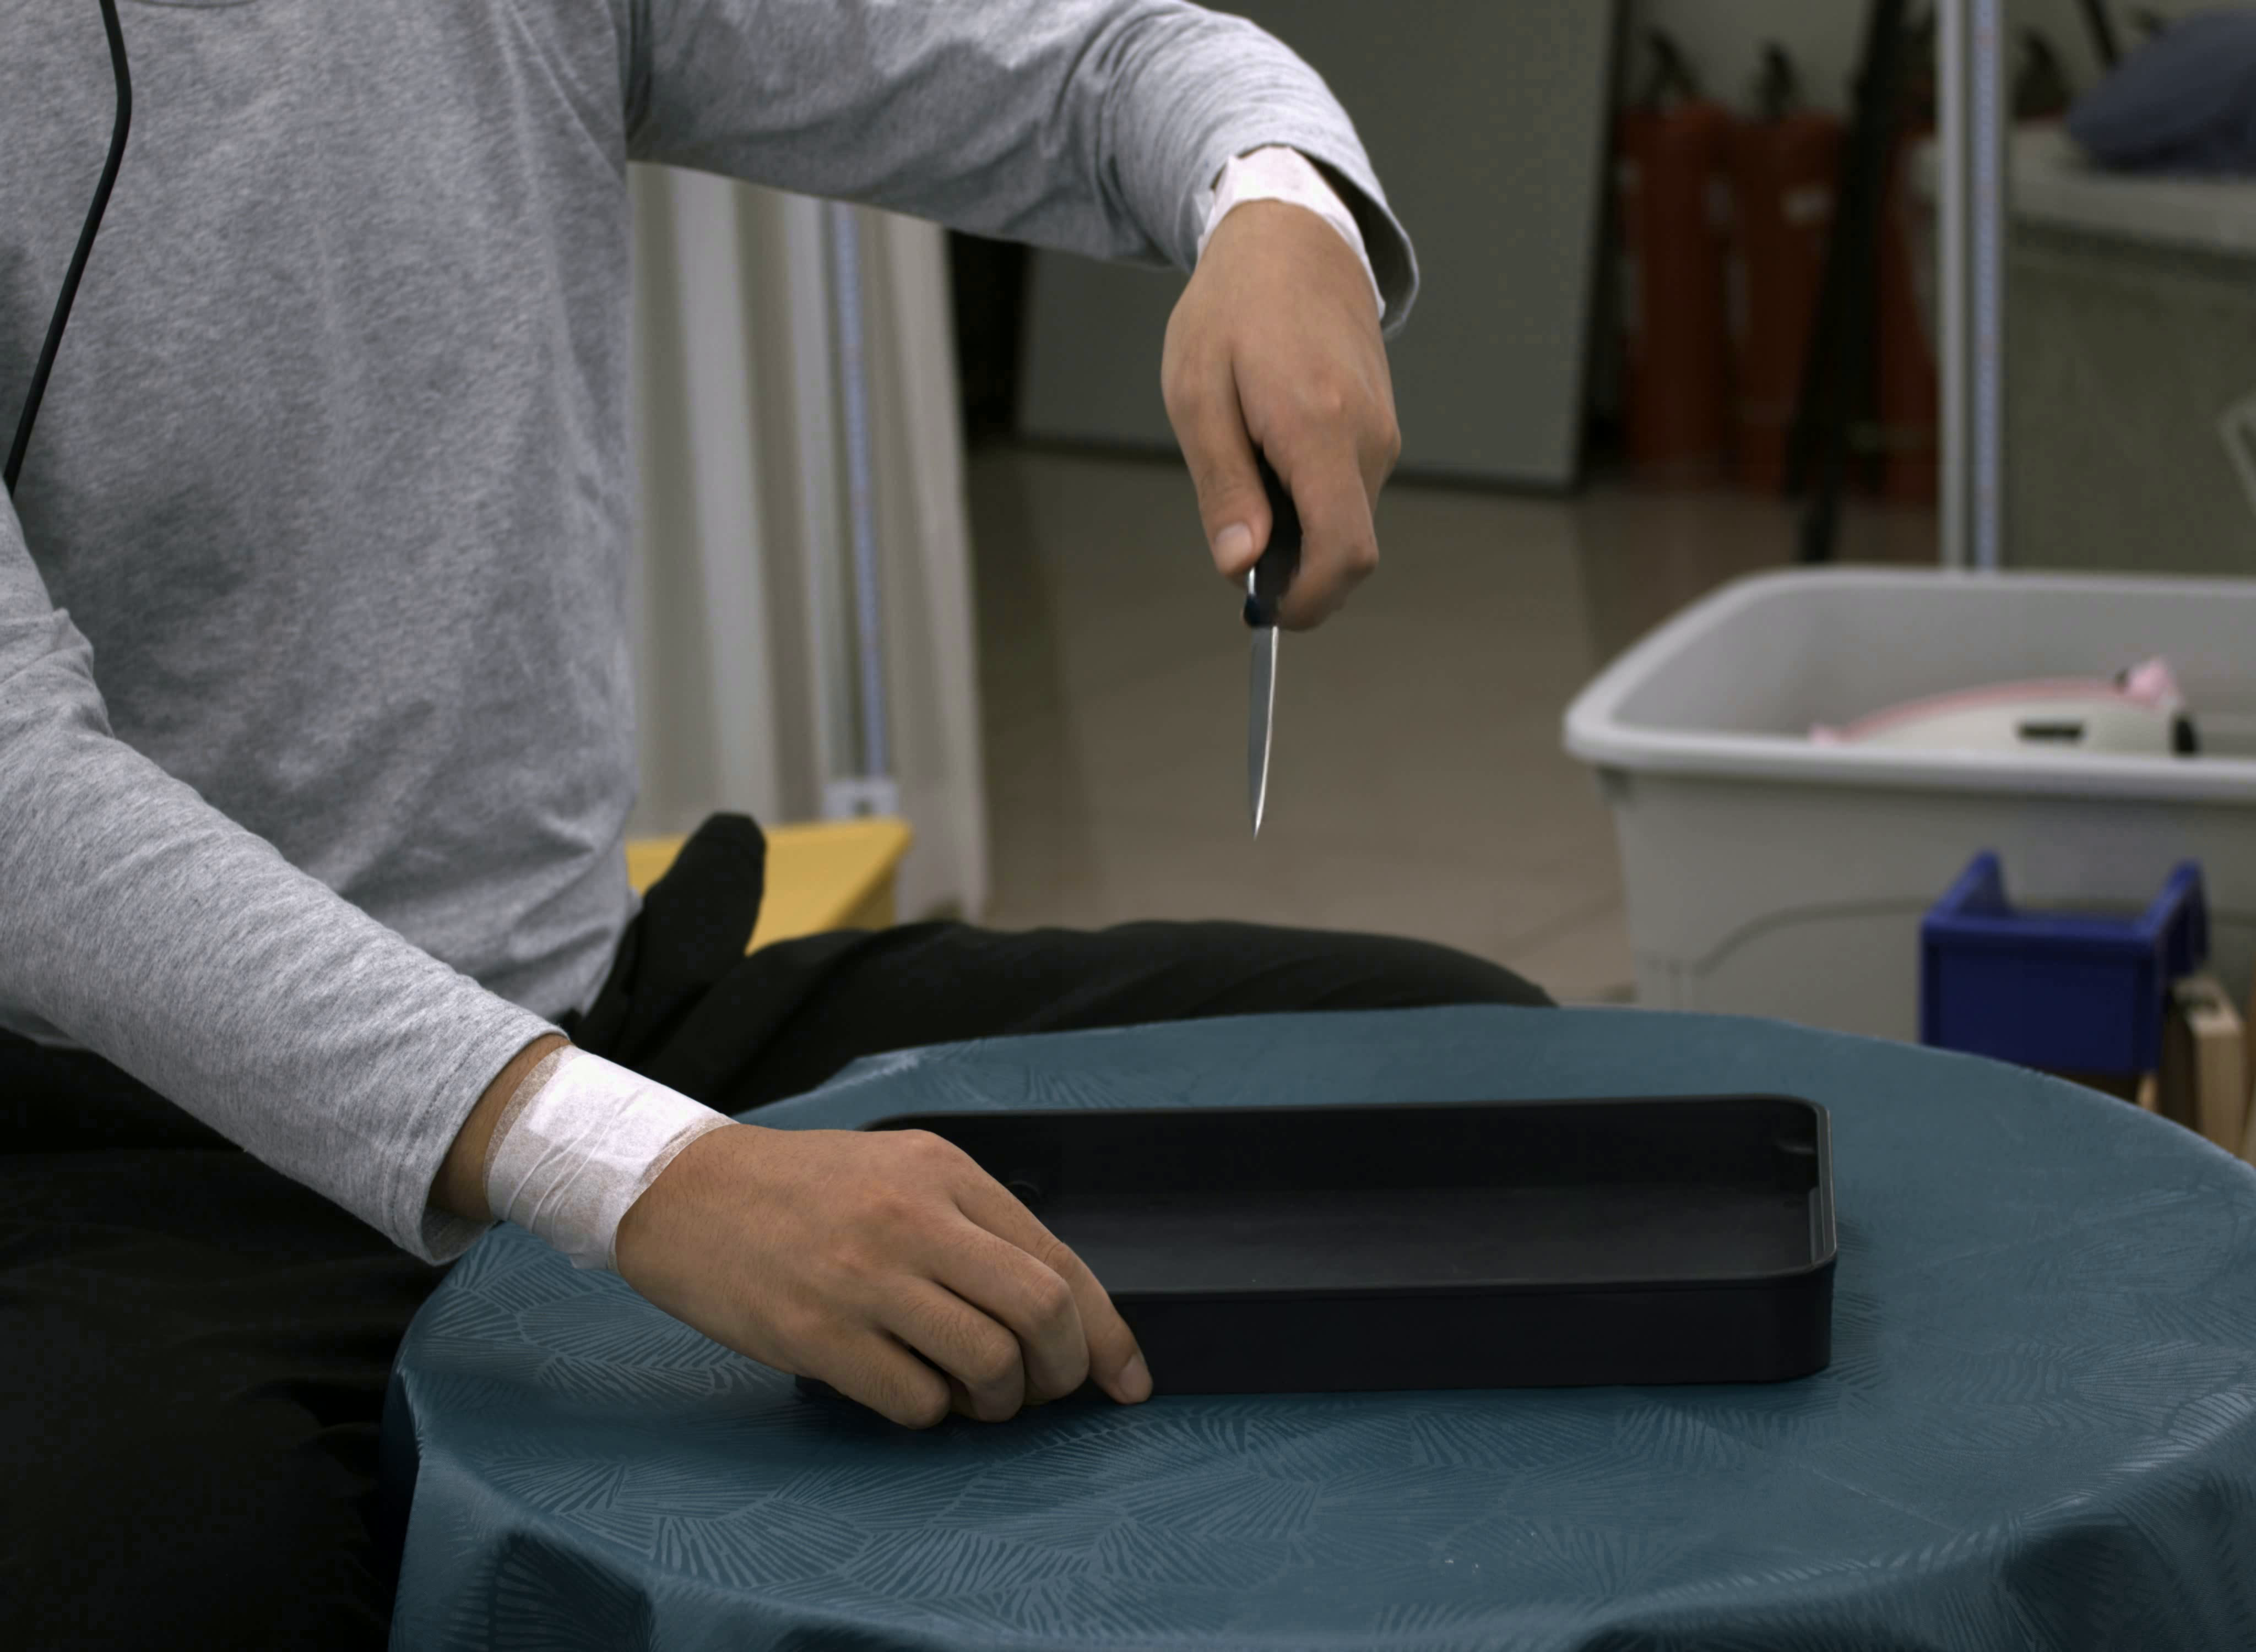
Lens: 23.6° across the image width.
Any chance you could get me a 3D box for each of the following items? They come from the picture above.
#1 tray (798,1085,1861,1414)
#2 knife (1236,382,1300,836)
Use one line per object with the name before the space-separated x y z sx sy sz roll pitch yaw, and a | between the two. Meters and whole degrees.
tray | 0.065 0.128 1.654 0.315 0.037 0.184 -3 13 7
knife | 0.042 -0.072 1.688 0.016 0.025 0.239 18 36 -9
